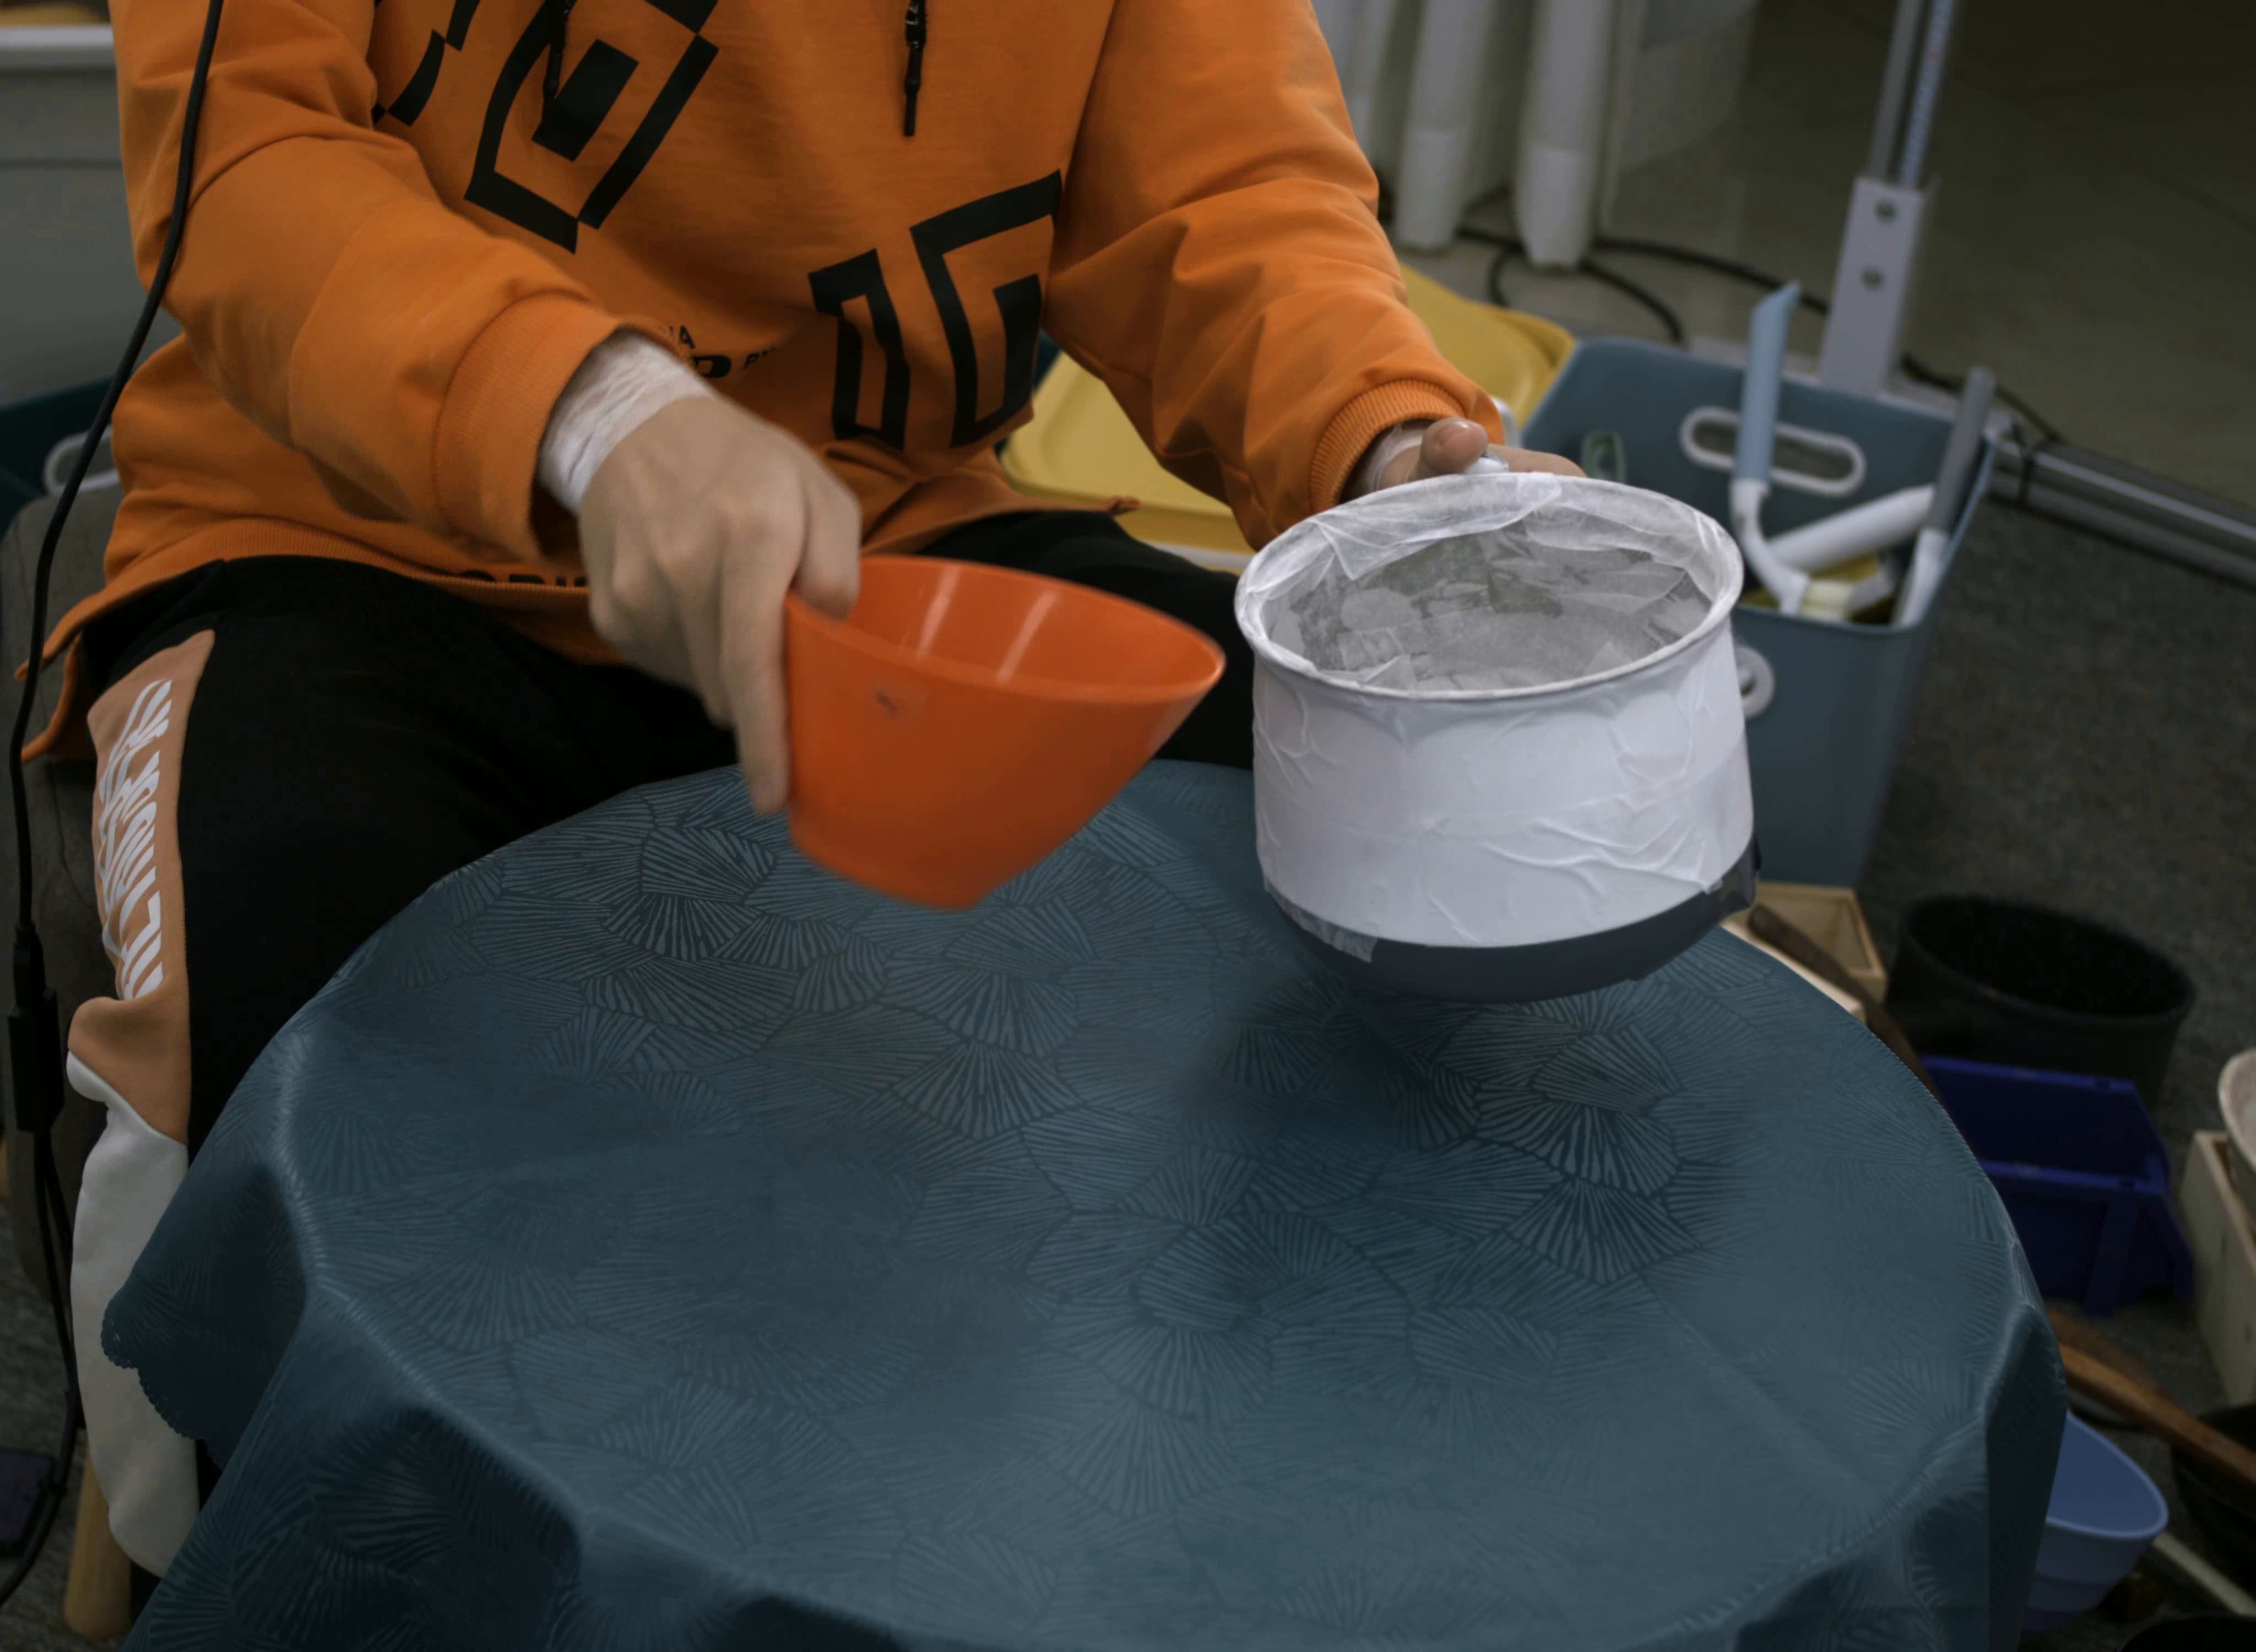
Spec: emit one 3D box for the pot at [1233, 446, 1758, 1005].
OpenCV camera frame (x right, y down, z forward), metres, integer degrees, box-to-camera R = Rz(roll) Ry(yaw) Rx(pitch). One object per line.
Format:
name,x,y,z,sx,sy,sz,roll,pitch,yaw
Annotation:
pot,0.130,-0.043,1.891,0.178,0.136,0.235,-4,28,2

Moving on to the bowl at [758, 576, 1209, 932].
bowl,-0.059,-0.023,1.770,0.147,0.104,0.148,18,12,-4
